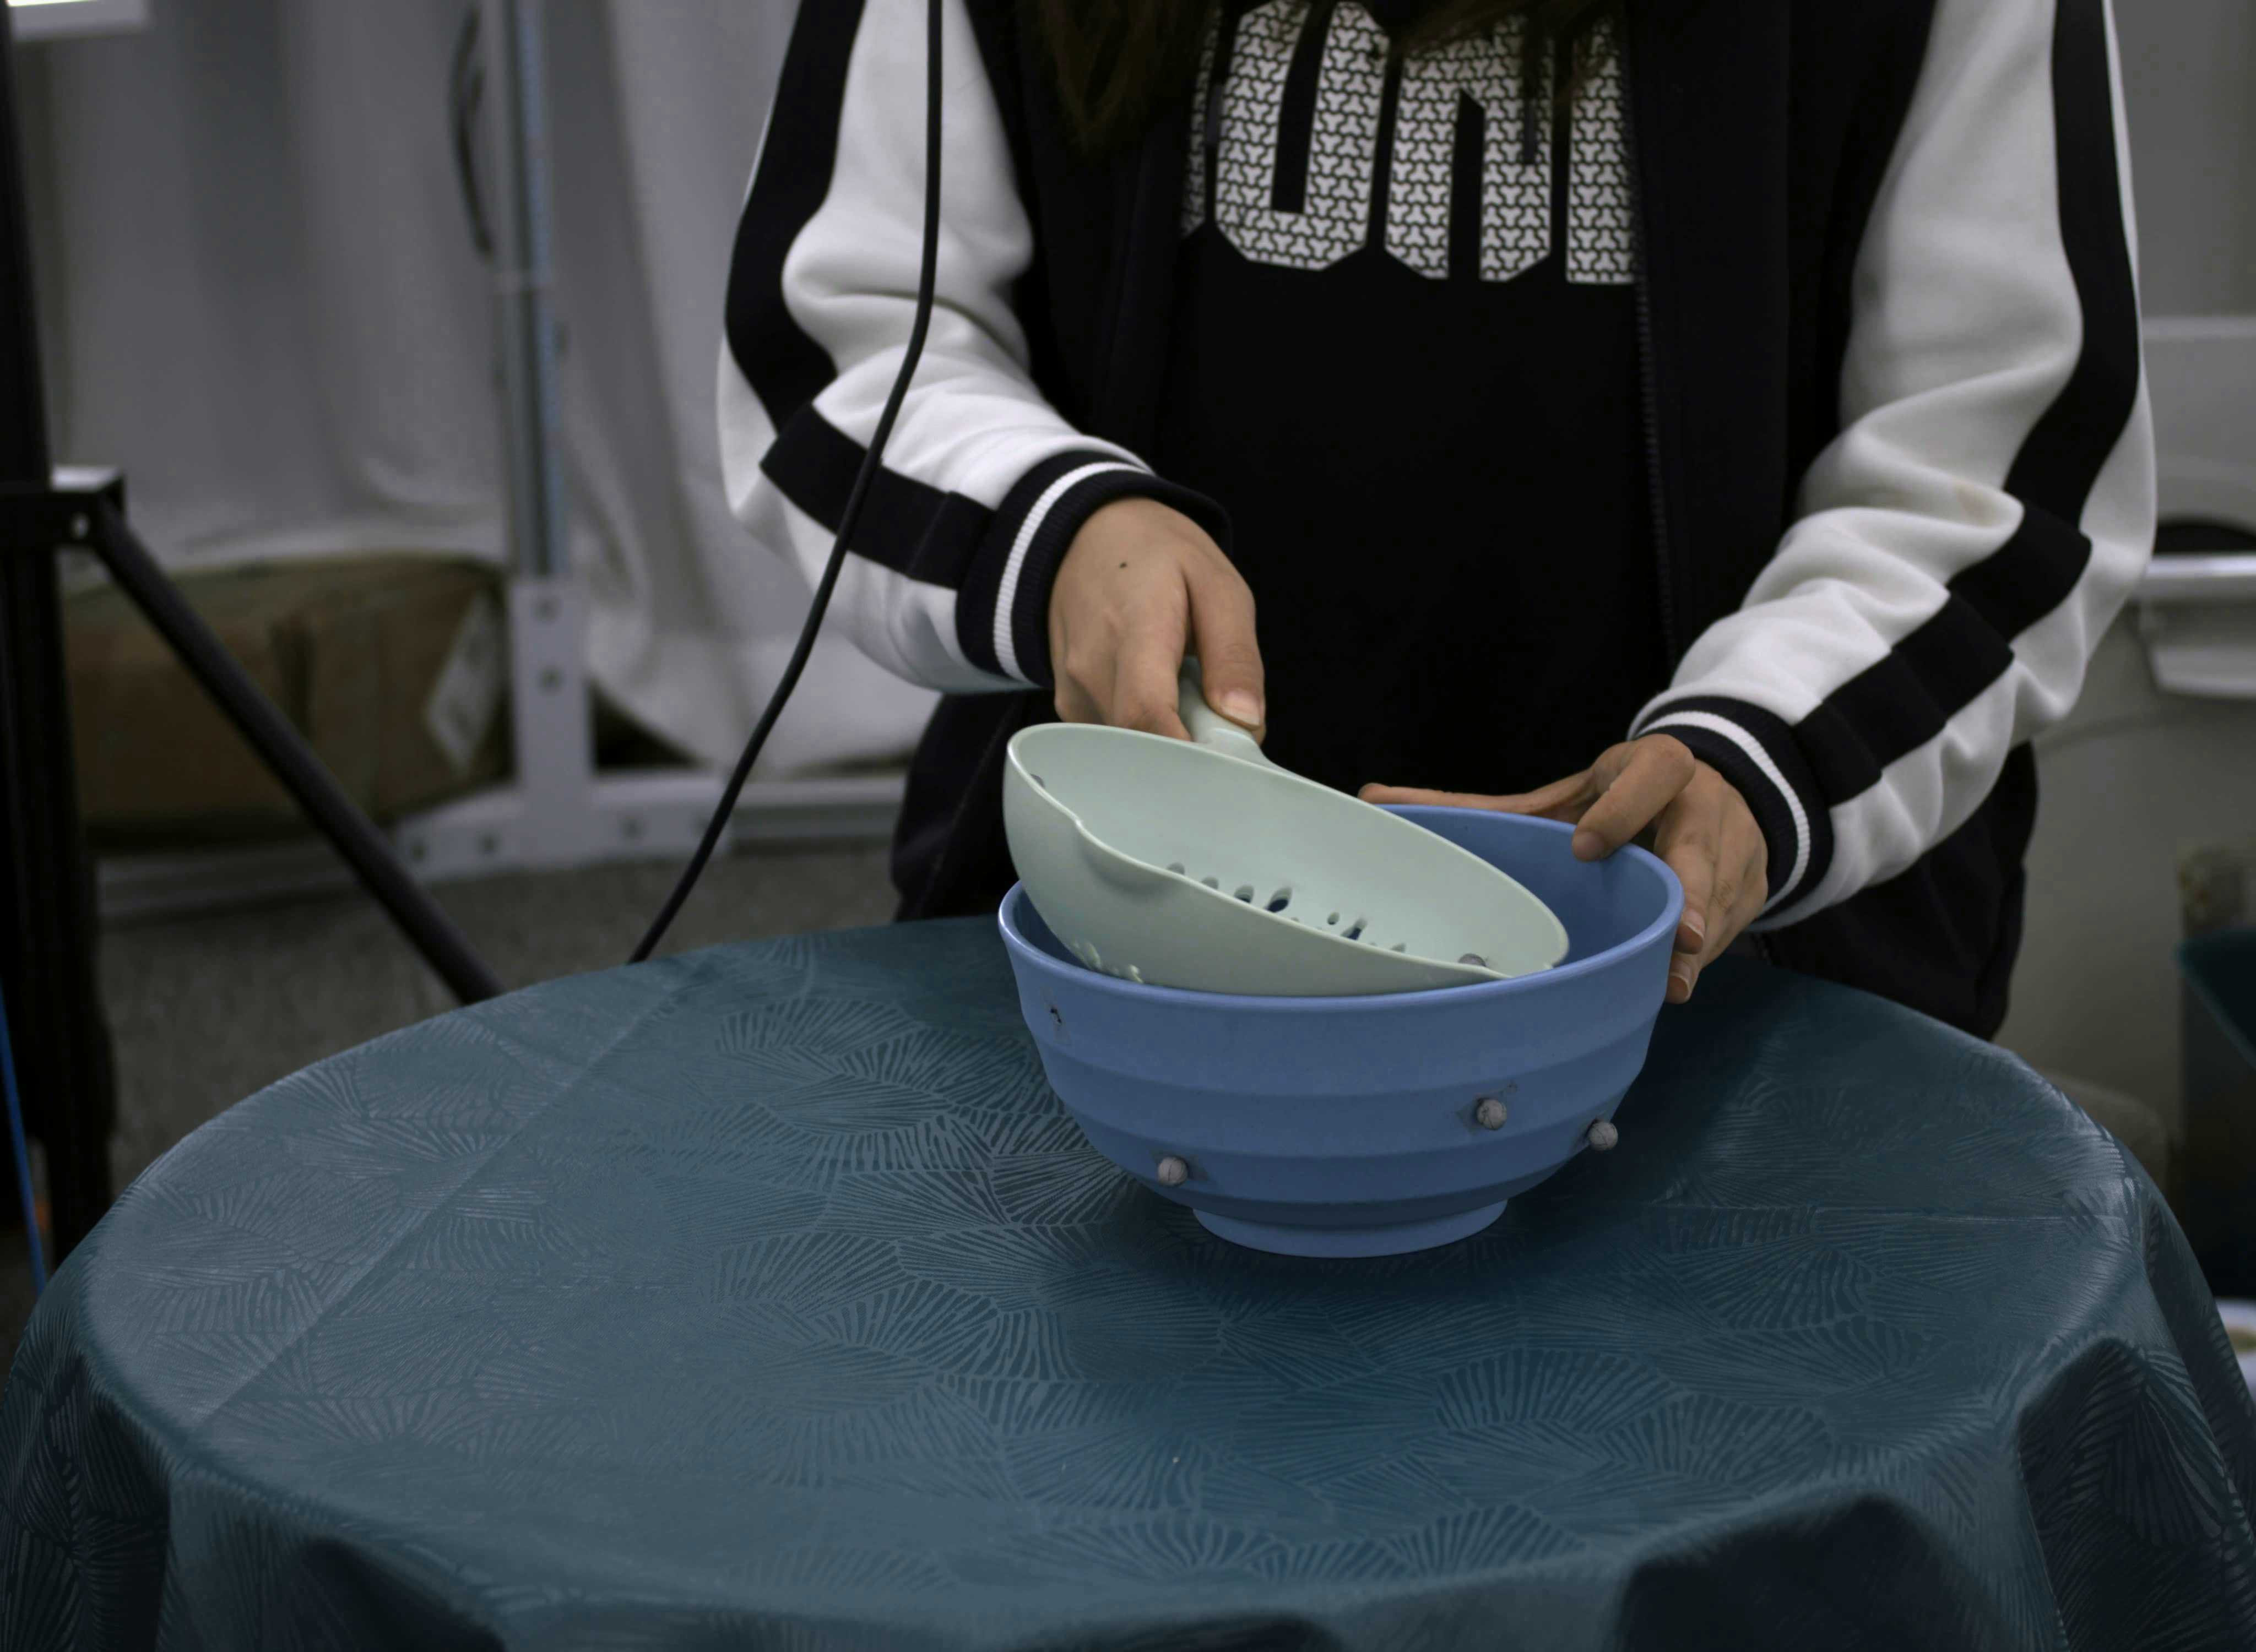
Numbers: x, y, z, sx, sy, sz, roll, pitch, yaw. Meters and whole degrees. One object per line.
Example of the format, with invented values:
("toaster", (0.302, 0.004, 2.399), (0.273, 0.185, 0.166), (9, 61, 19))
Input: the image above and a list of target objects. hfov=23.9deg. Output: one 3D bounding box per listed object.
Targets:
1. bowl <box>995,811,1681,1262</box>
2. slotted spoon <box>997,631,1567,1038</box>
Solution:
("bowl", (0.062, 0.066, 1.525), (0.195, 0.095, 0.197), (-3, 15, 0))
("slotted spoon", (0.028, -0.010, 1.594), (0.167, 0.075, 0.362), (17, 20, -11))
